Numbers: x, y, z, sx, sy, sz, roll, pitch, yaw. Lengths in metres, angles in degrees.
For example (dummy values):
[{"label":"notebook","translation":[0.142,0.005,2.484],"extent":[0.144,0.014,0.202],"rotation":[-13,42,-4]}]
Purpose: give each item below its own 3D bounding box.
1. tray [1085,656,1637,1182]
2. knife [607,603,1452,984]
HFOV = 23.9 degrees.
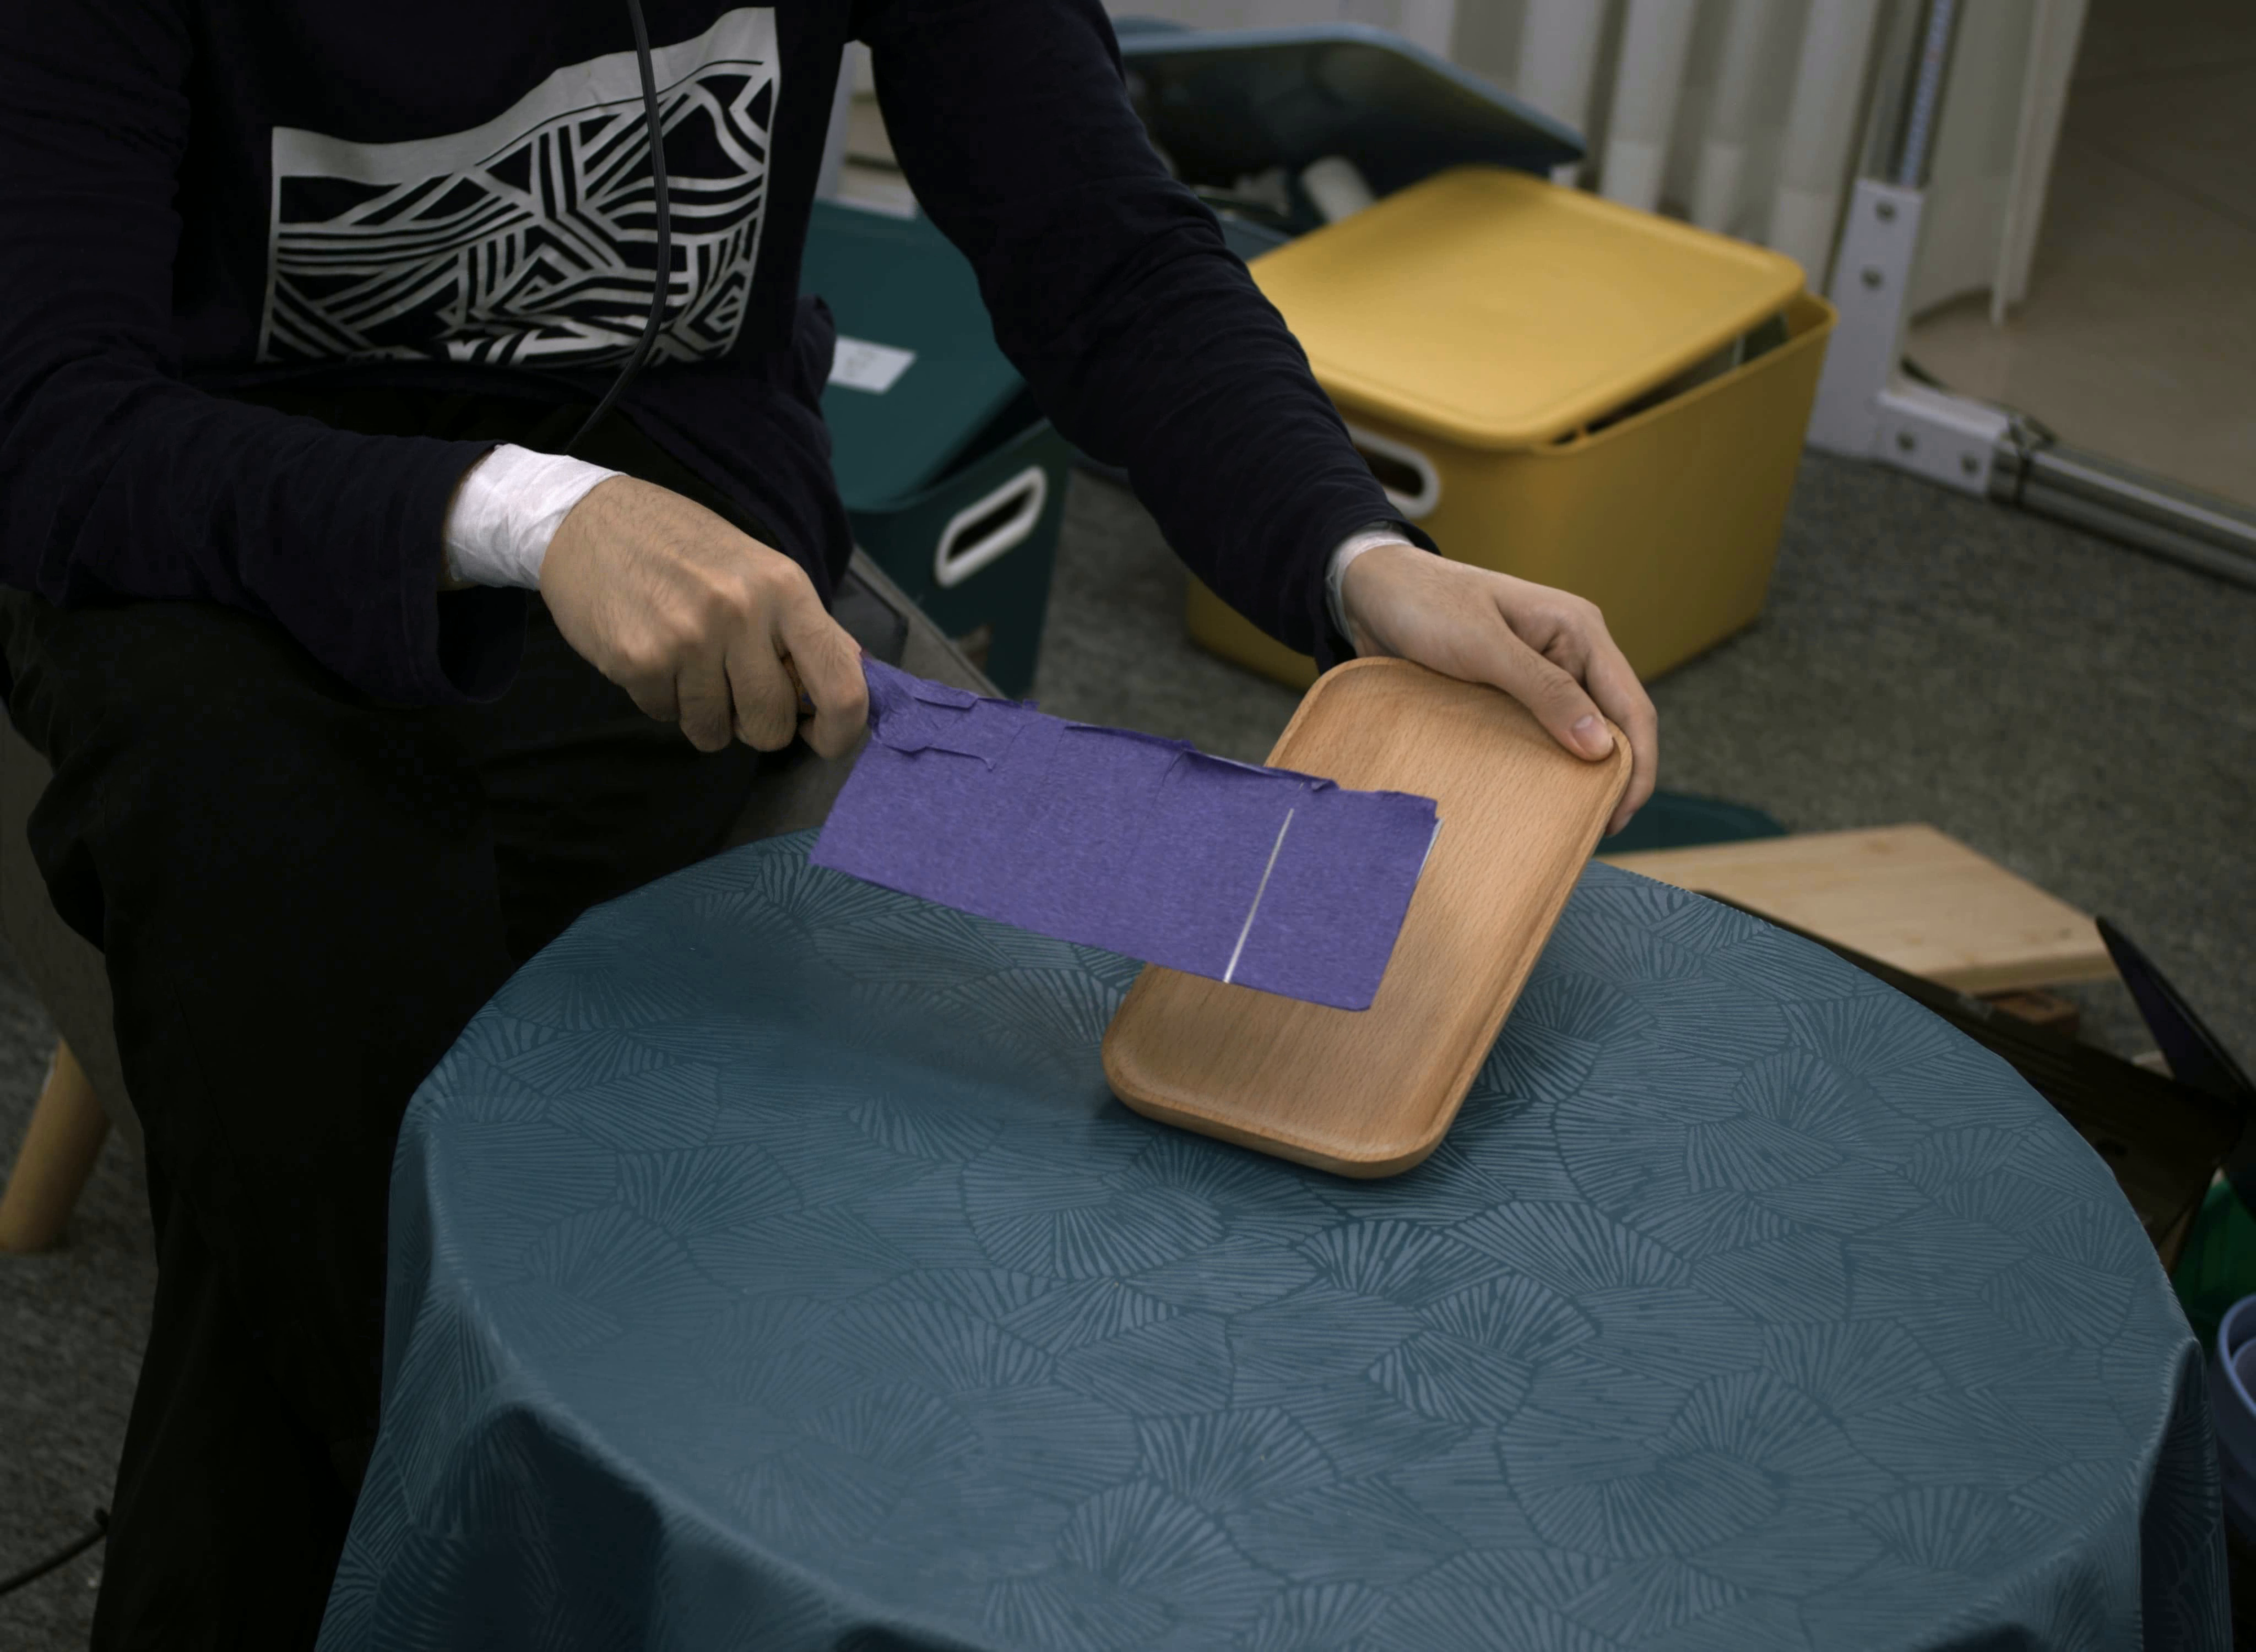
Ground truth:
[{"label":"tray","translation":[0.087,0.031,1.915],"extent":[0.131,0.023,0.251],"rotation":[16,46,21]},{"label":"knife","translation":[-0.049,-0.012,1.862],"extent":[0.316,0.032,0.104],"rotation":[13,51,17]}]
